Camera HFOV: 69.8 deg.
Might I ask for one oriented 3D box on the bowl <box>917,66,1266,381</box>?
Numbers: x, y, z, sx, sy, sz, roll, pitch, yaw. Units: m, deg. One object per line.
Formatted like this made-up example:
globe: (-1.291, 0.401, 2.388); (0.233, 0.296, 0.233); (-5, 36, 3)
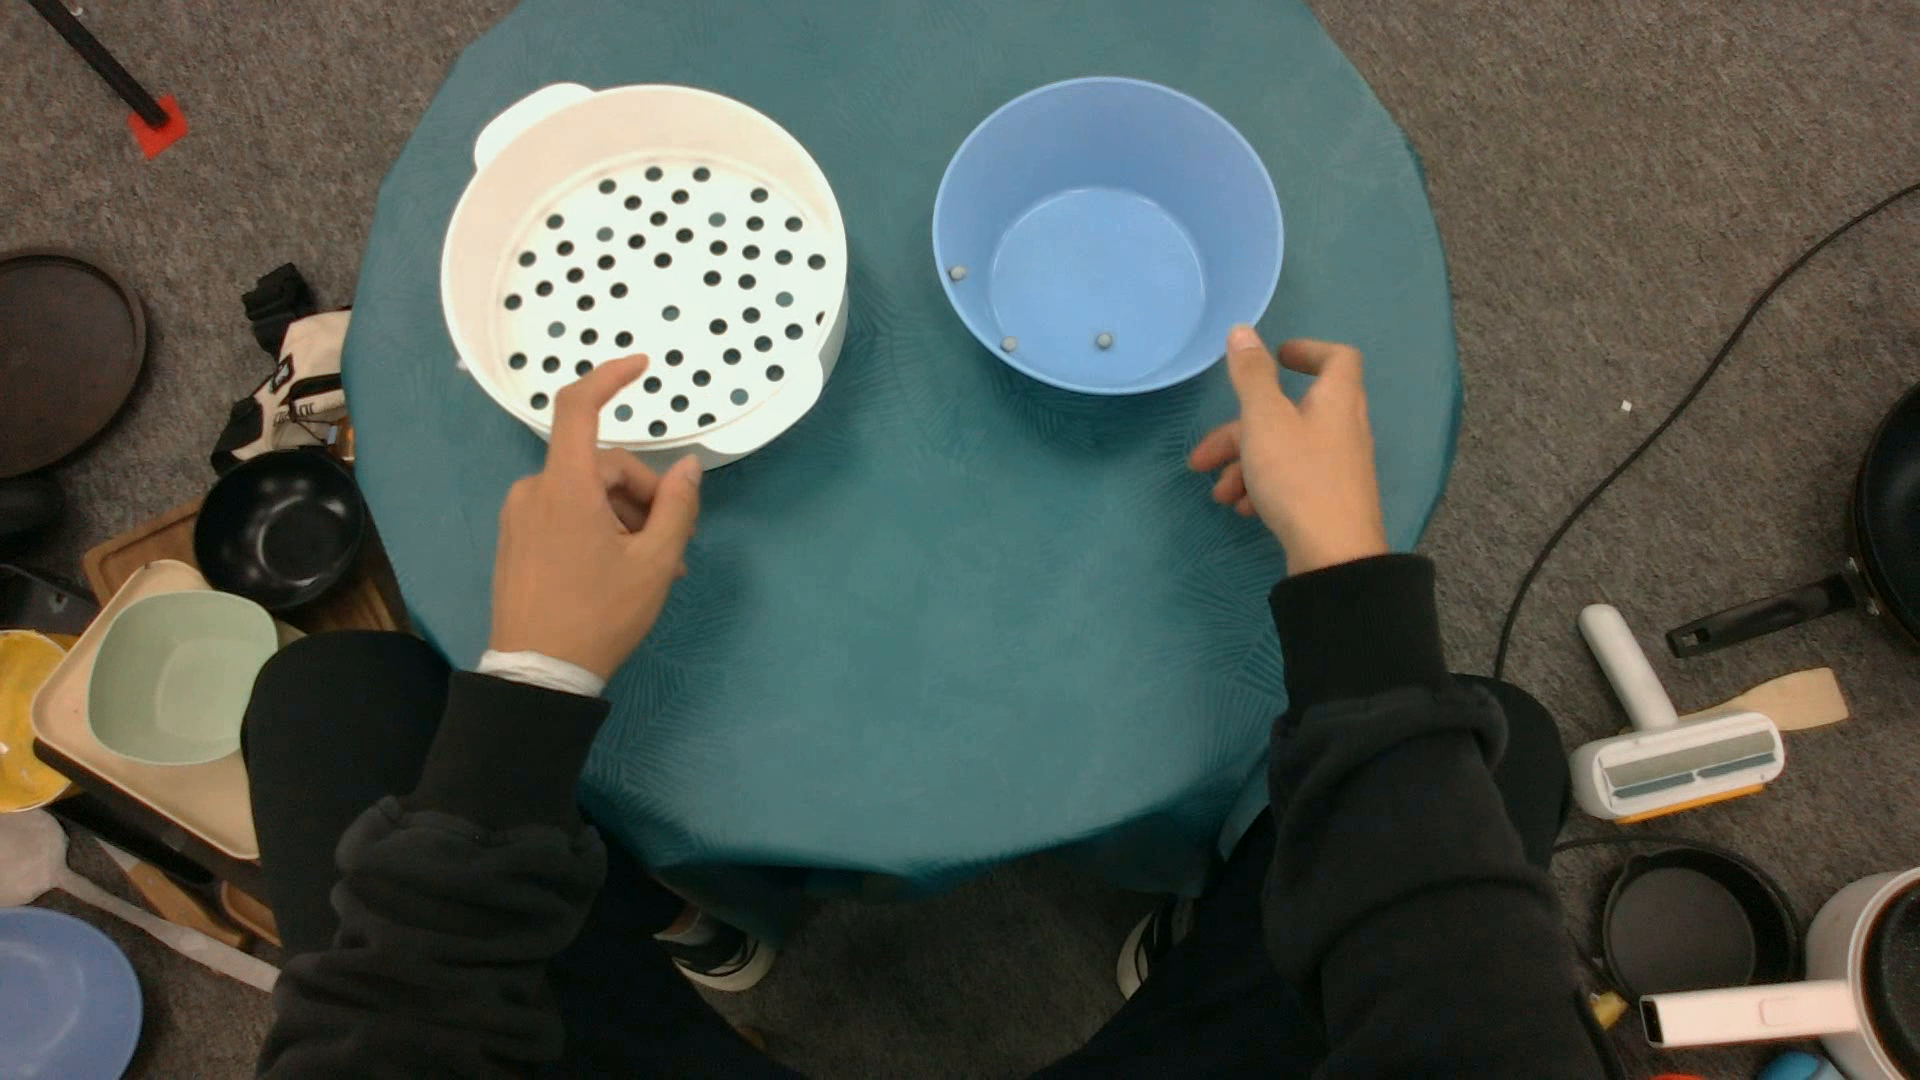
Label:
bowl: (0.067, -0.154, 0.722); (0.176, 0.070, 0.176); (0, 74, 0)

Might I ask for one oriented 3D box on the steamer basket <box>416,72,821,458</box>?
steamer basket: (-0.171, -0.141, 0.715); (0.202, 0.069, 0.231); (-38, 76, -11)
